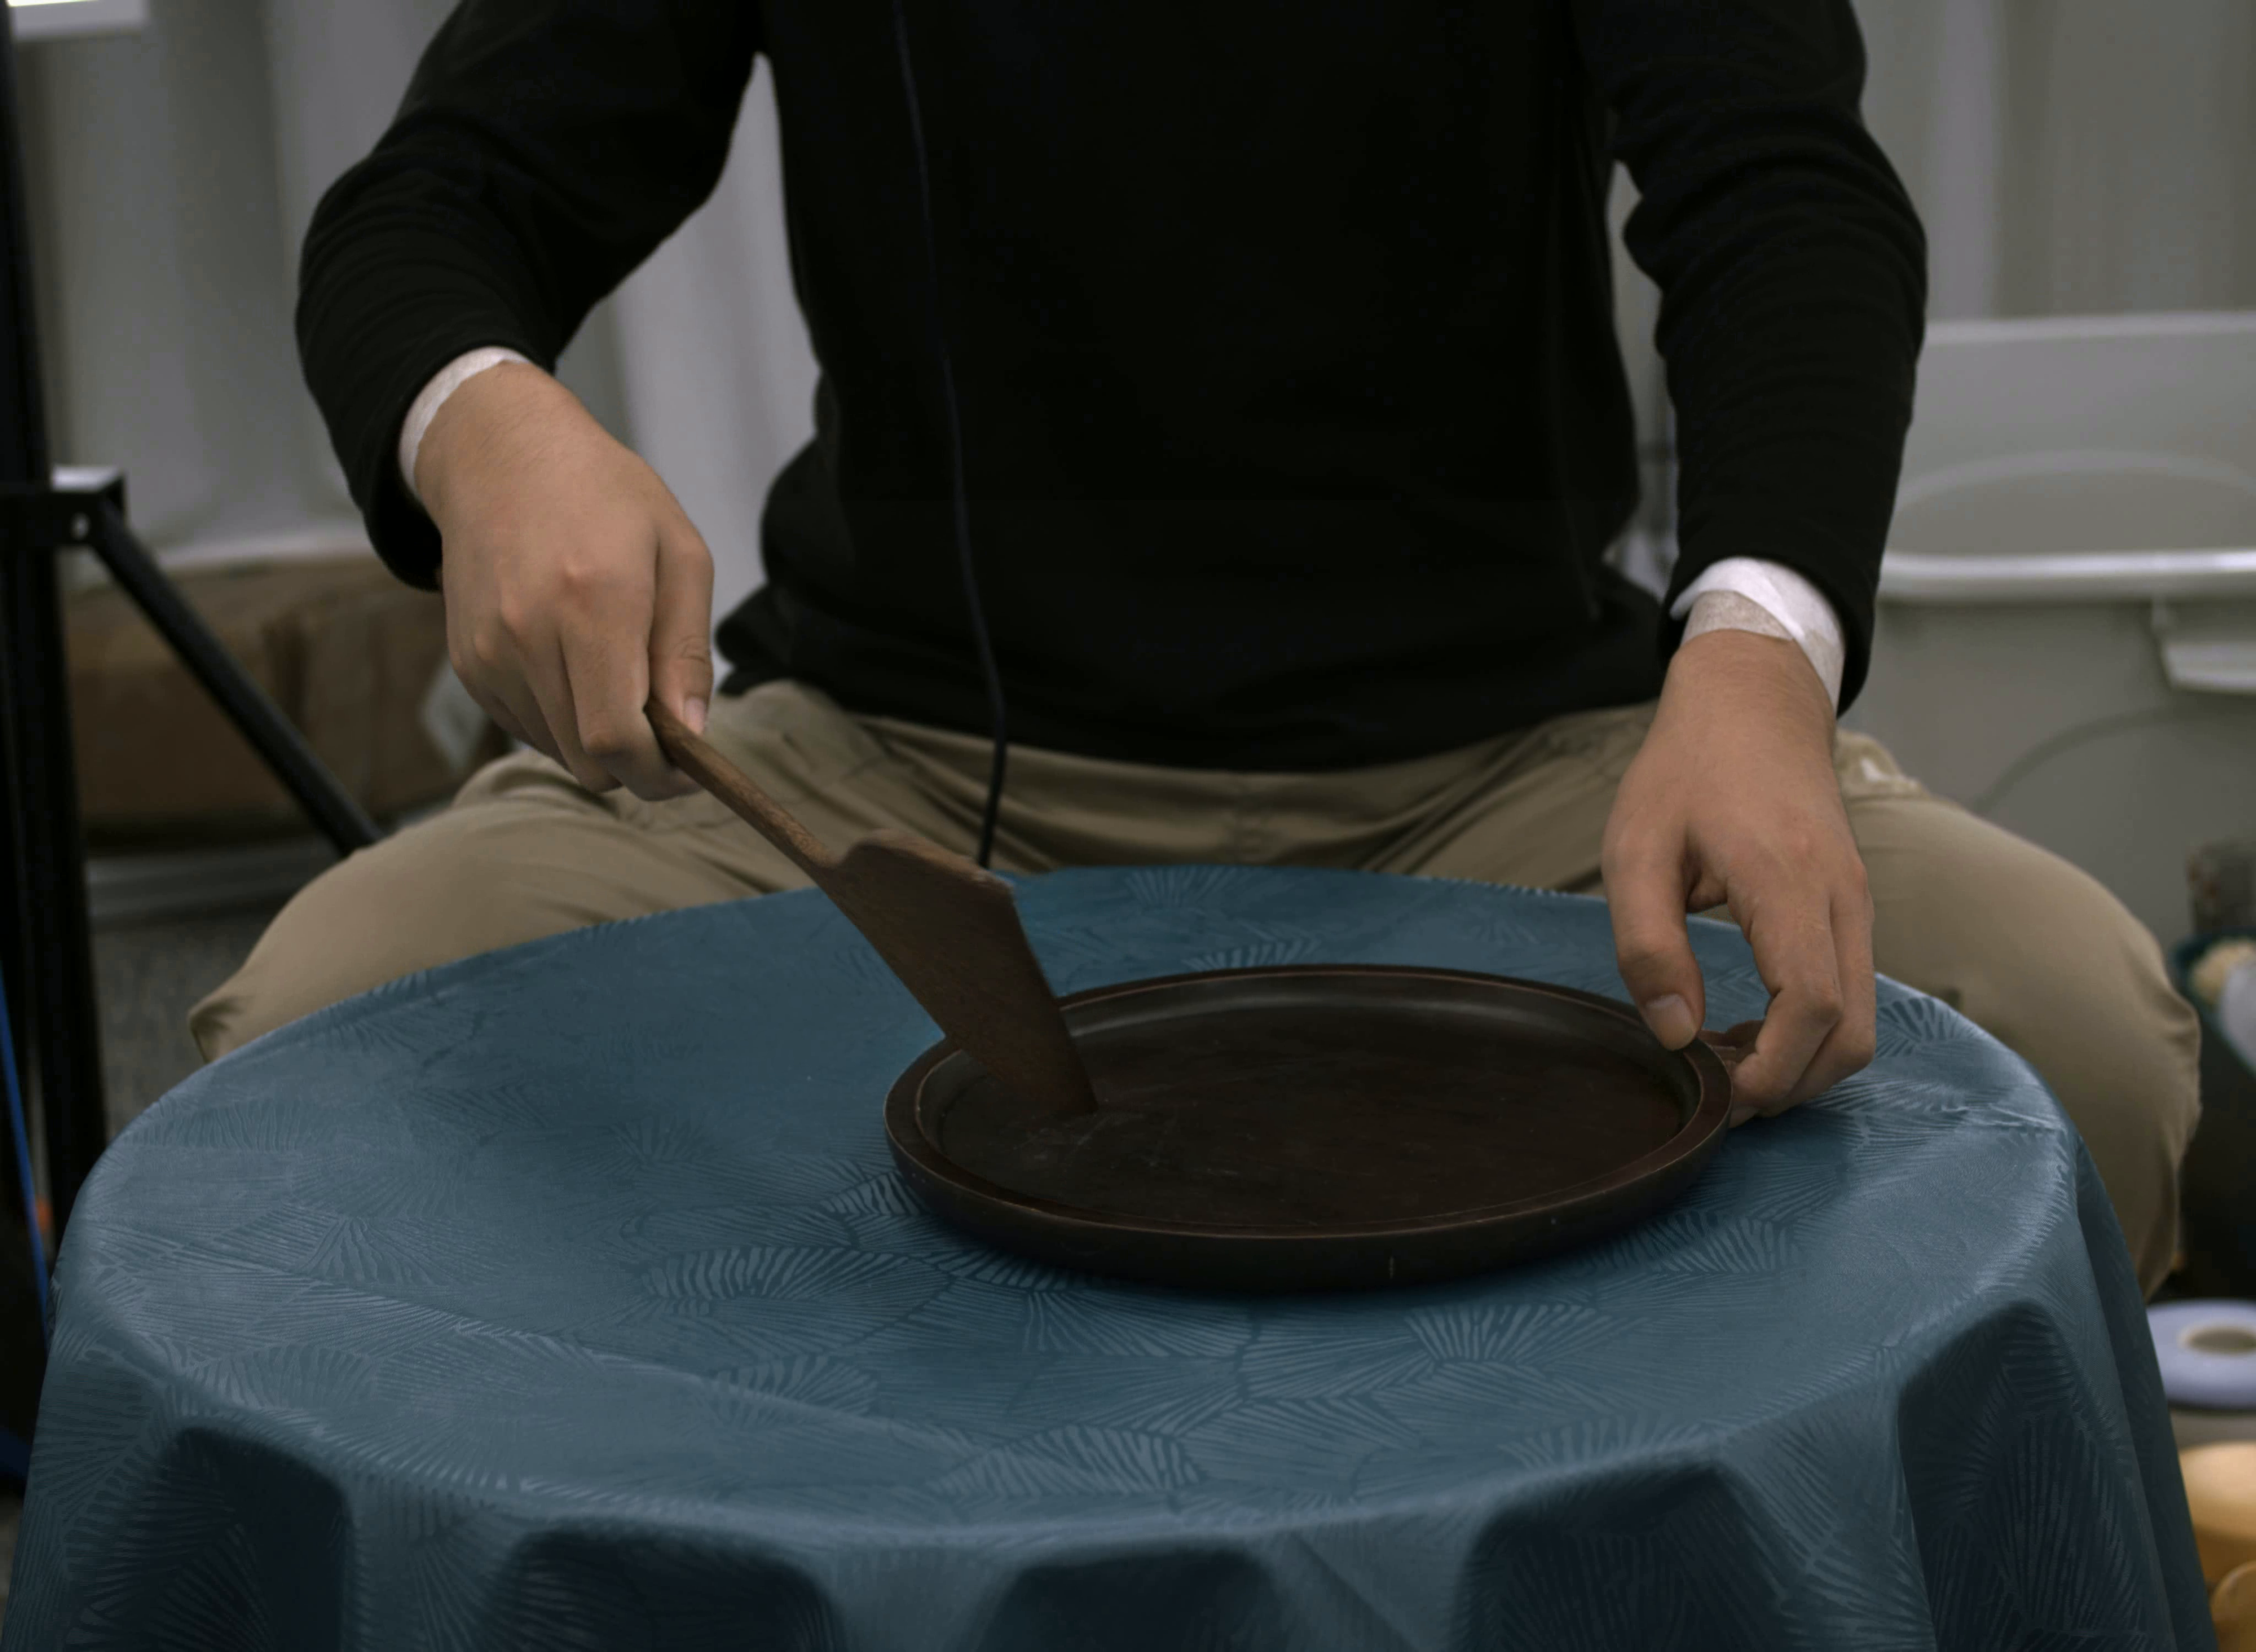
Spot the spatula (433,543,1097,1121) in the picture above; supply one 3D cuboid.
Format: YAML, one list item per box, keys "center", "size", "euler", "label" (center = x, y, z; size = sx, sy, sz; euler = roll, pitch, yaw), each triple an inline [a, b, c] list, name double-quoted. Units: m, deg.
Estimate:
- center: [-0.122, -0.016, 1.627]
  size: [0.015, 0.095, 0.395]
  euler: [-32, 36, -18]
  label: "spatula"

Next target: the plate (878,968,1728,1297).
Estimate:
- center: [0.052, 0.088, 1.575]
  size: [0.253, 0.029, 0.256]
  euler: [-4, 15, 0]
  label: "plate"
